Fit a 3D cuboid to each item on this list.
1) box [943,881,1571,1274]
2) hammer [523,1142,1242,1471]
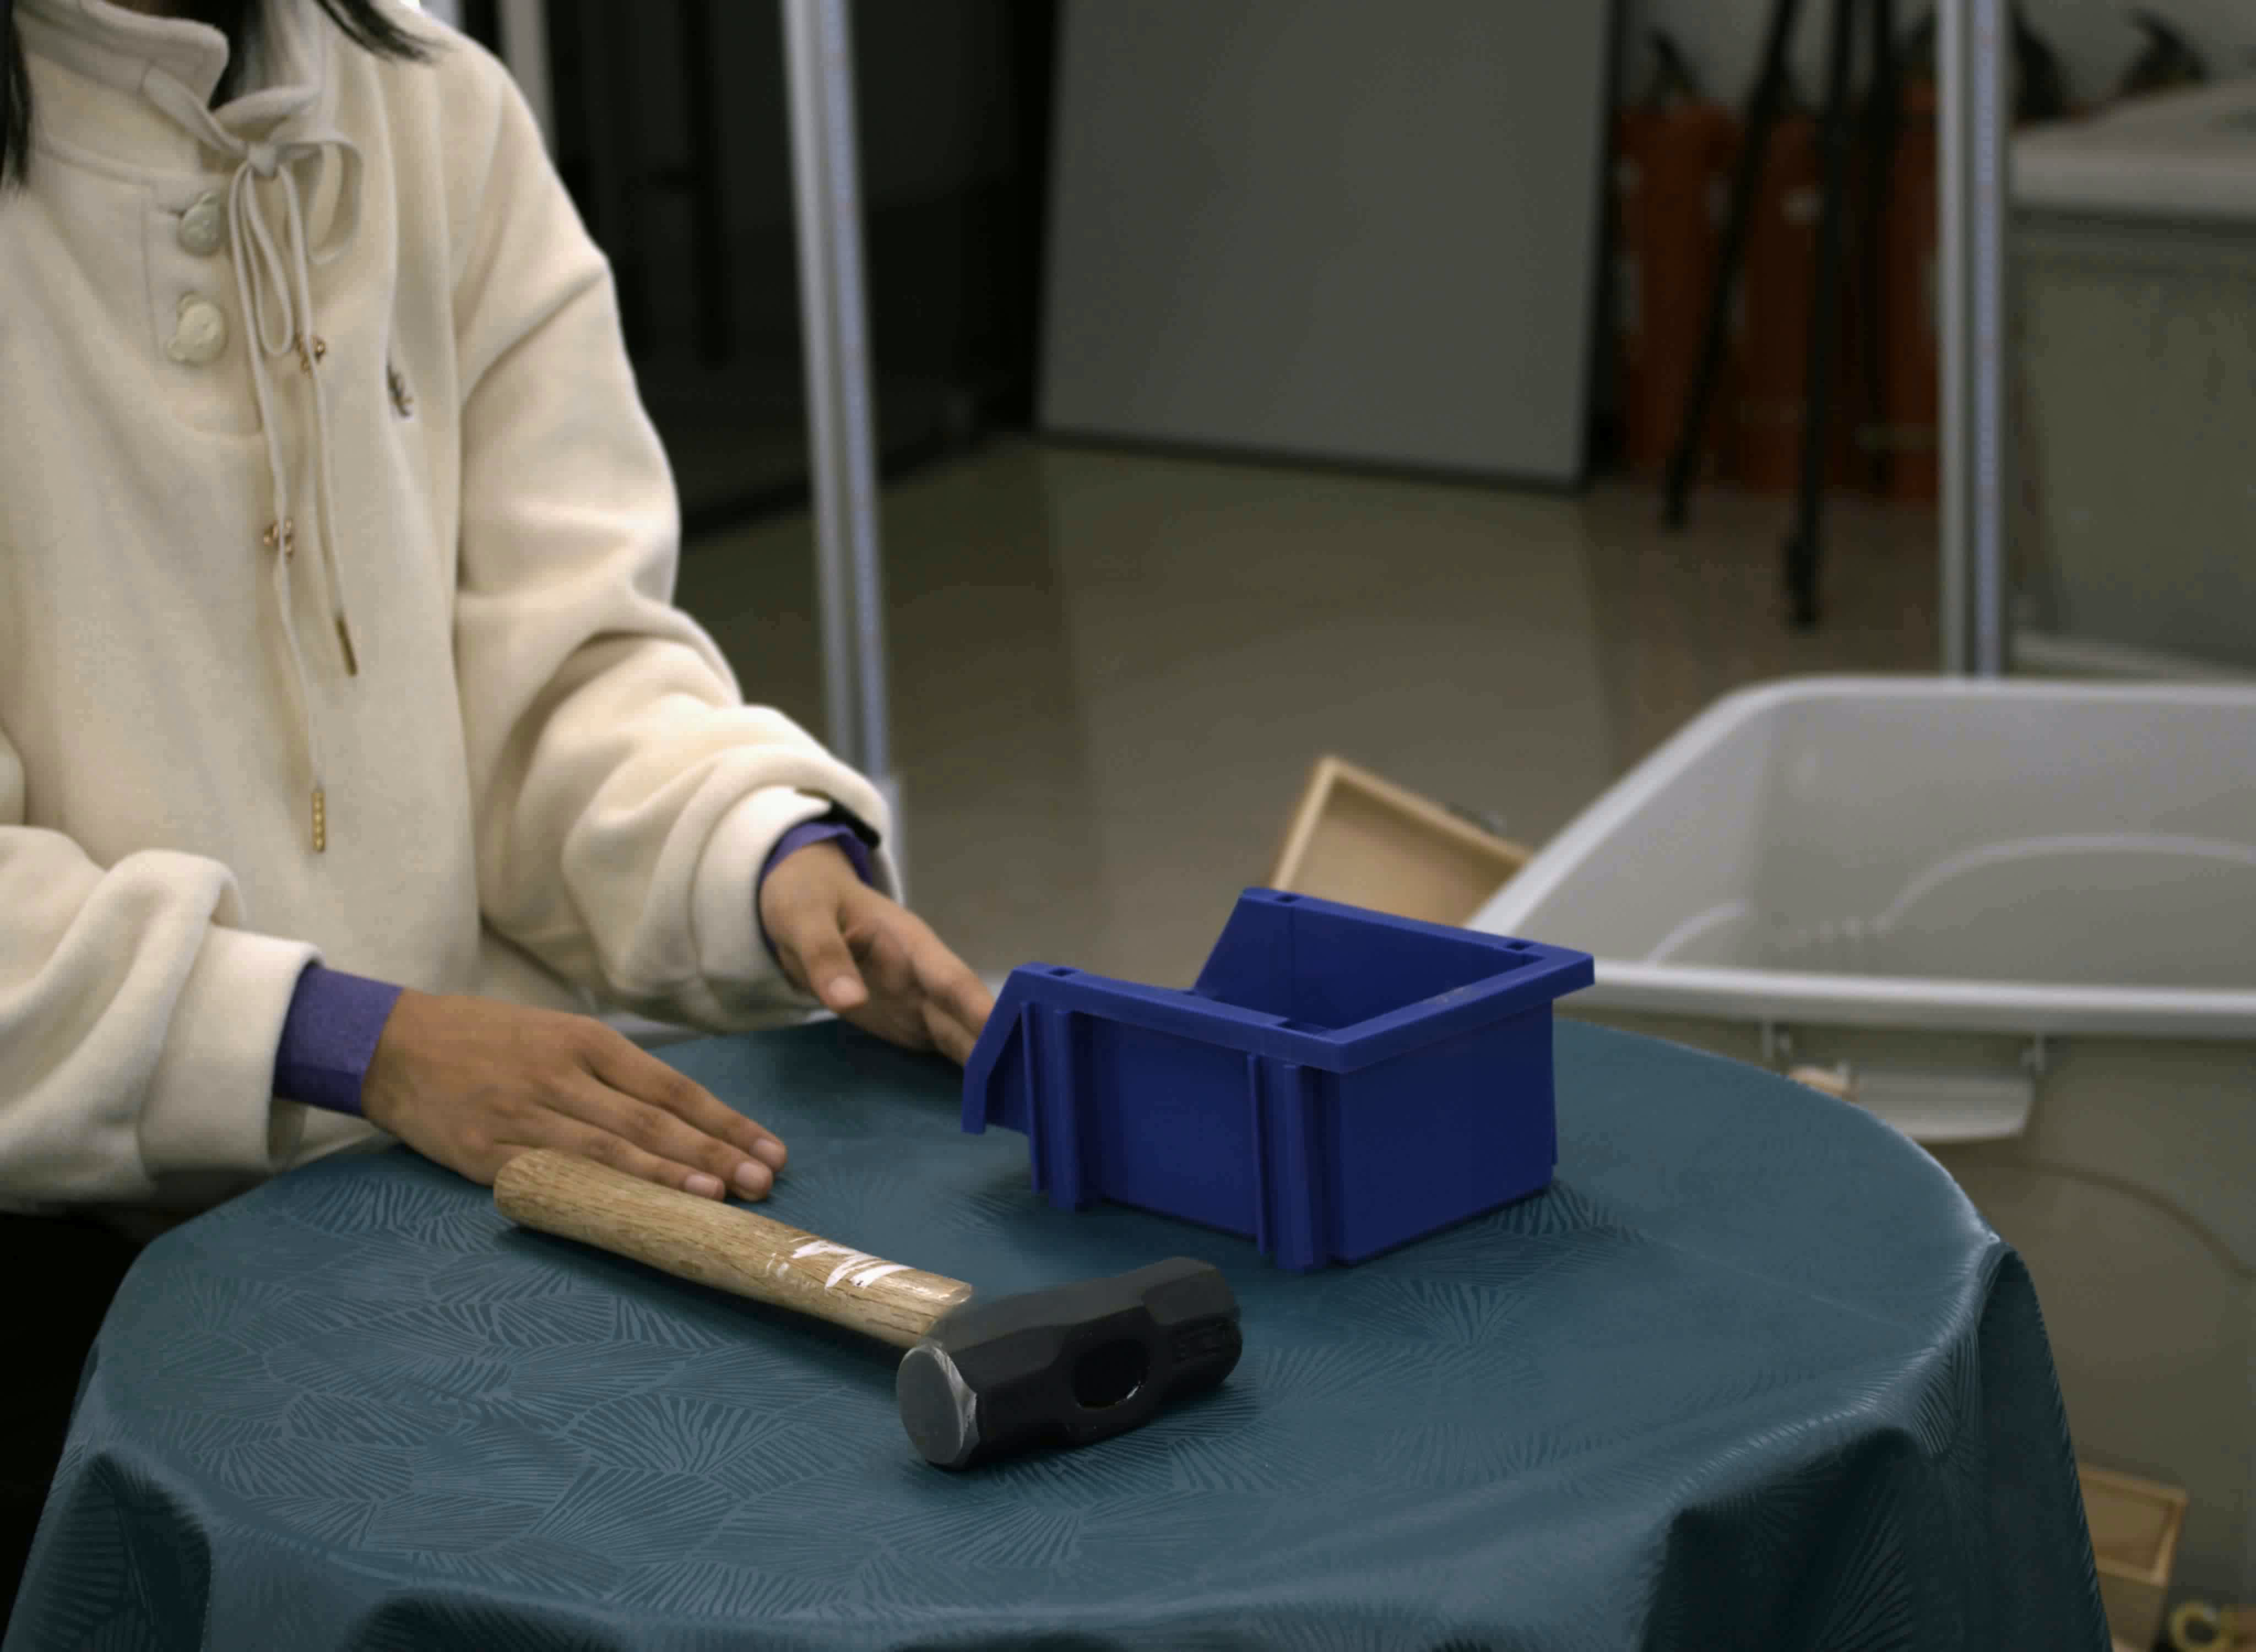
[{"bbox_3d":[0.039,0.079,1.761,0.122,0.083,0.181,-16,20,-40],"label":"box"},{"bbox_3d":[-0.097,0.137,1.663,0.105,0.039,0.308,-14,16,-34],"label":"hammer"}]
